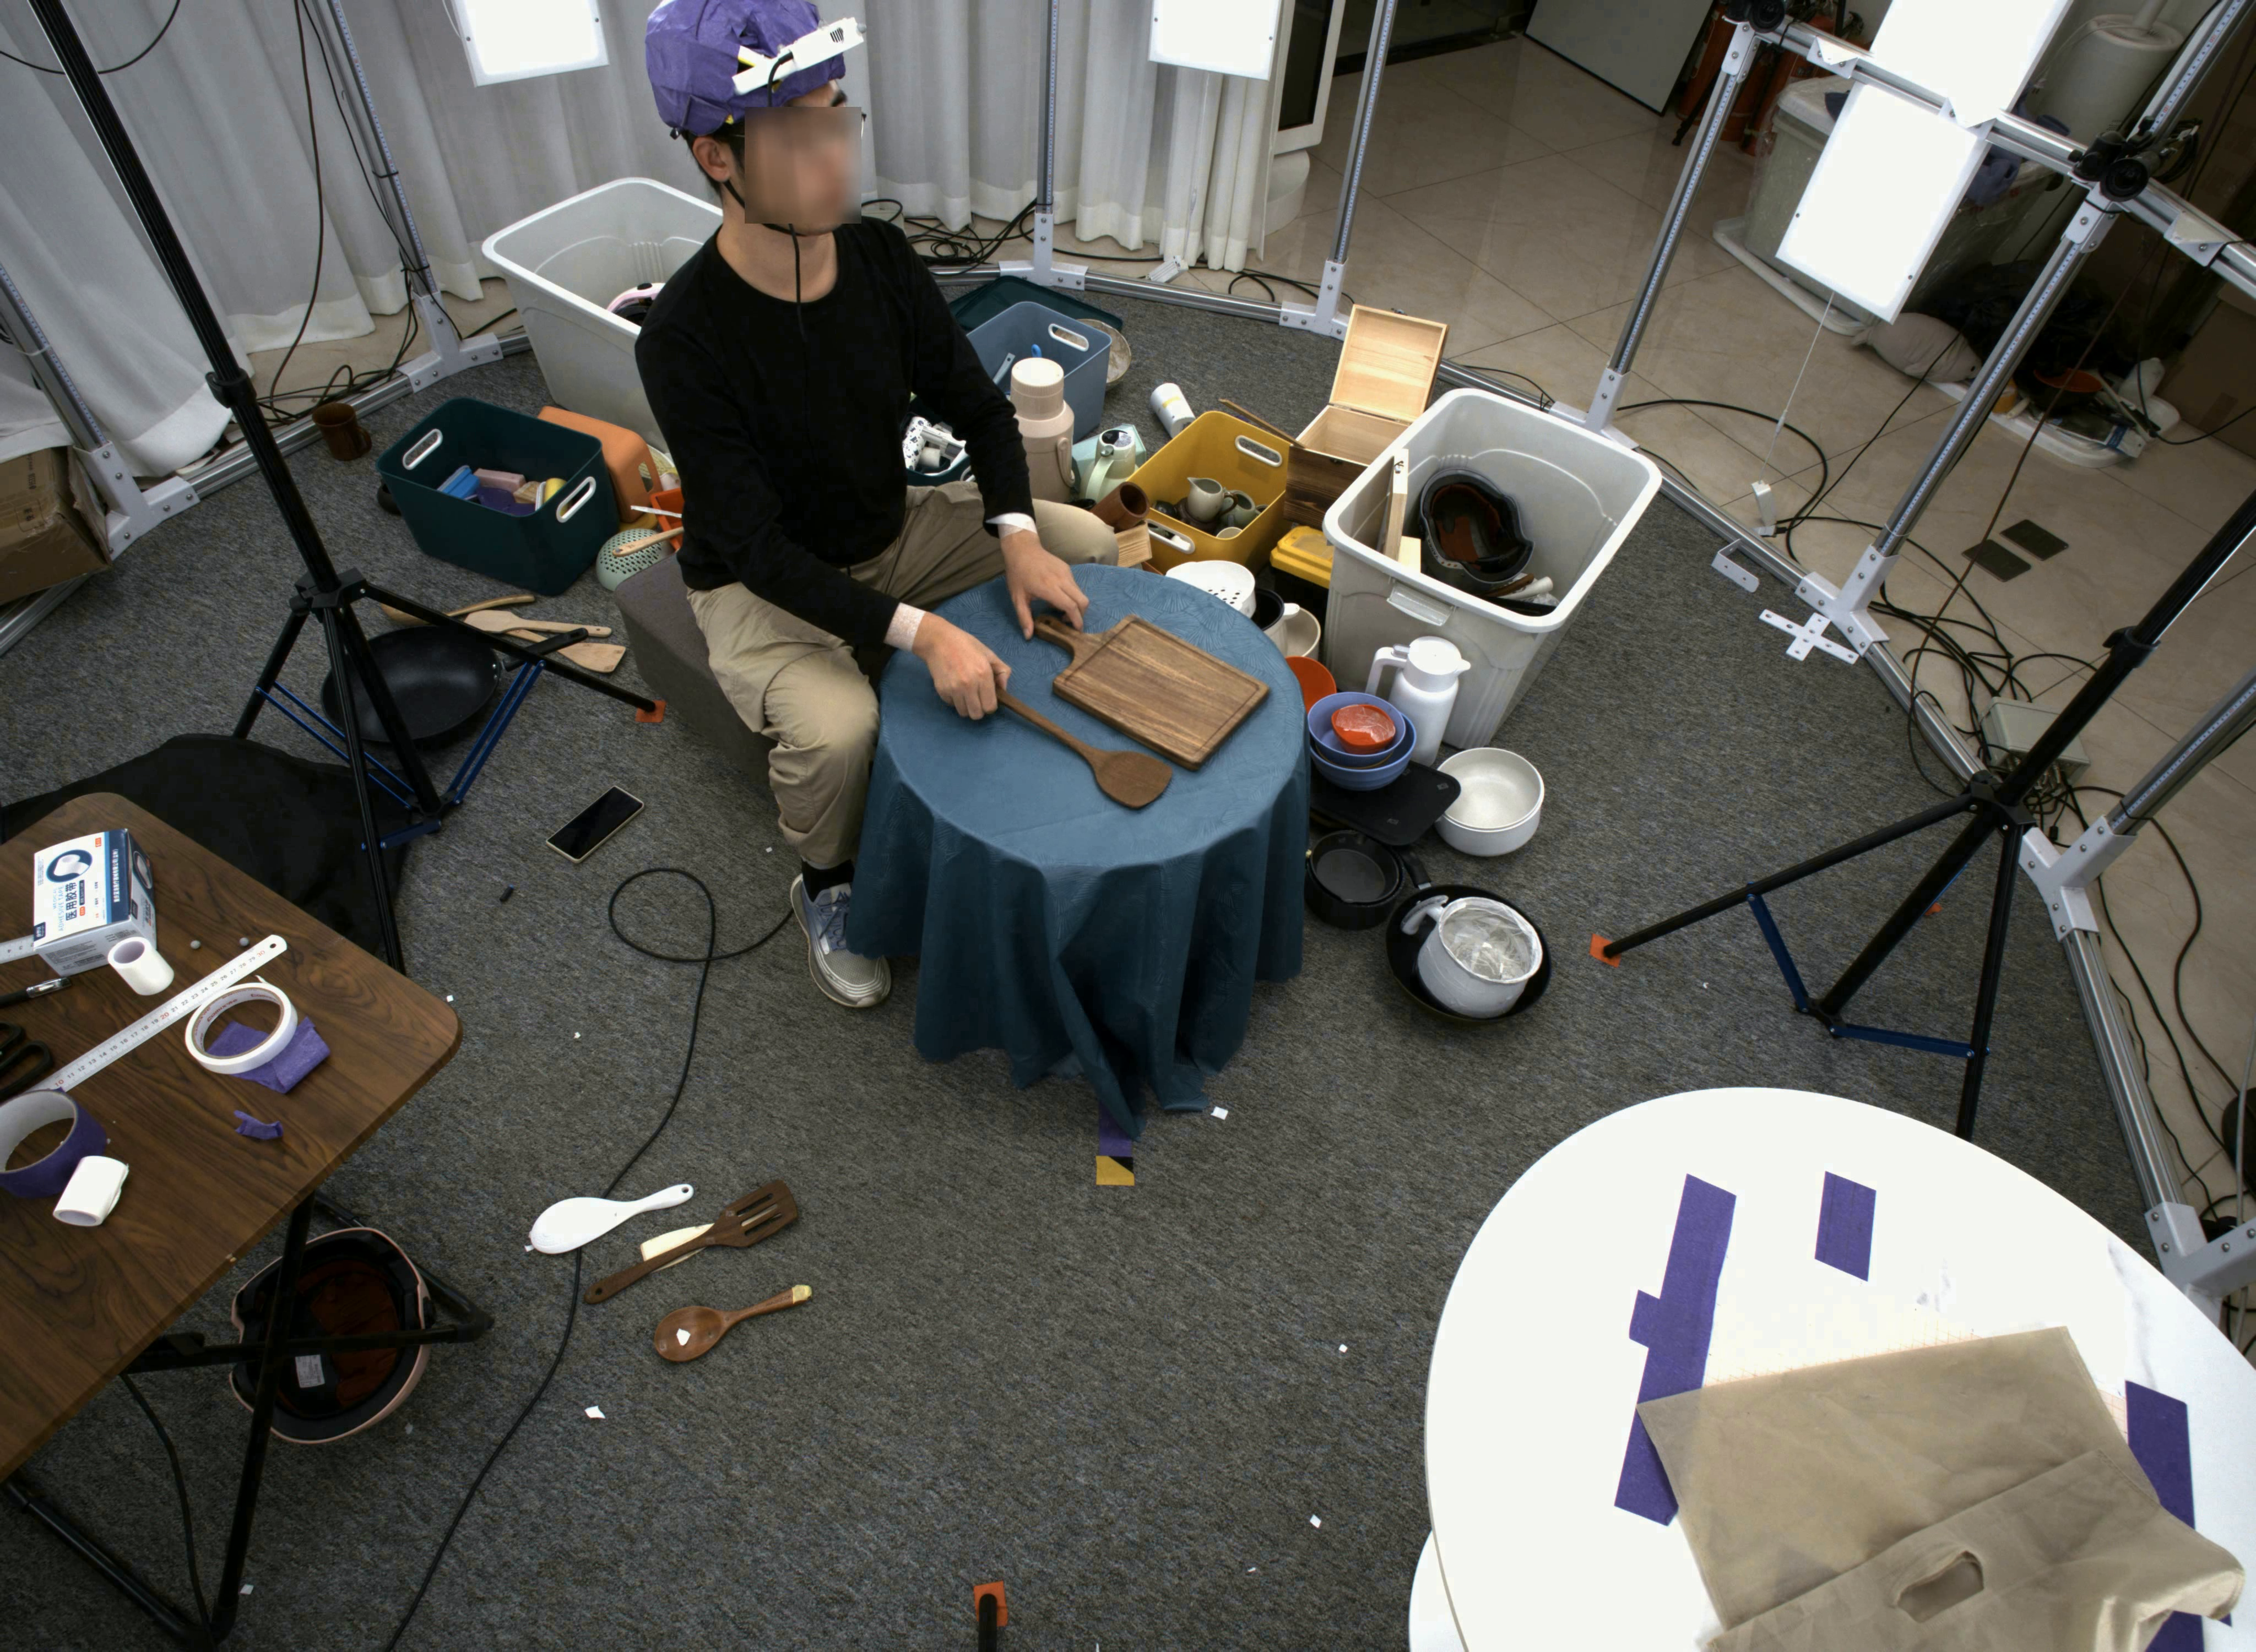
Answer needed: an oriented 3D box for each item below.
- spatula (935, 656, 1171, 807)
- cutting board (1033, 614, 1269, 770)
[{"bbox_3d":[-0.114,-0.140,1.765,0.390,0.015,0.097,32,54,18],"label":"spatula"},{"bbox_3d":[0.008,-0.221,1.848,0.356,0.022,0.204,30,54,21],"label":"cutting board"}]
